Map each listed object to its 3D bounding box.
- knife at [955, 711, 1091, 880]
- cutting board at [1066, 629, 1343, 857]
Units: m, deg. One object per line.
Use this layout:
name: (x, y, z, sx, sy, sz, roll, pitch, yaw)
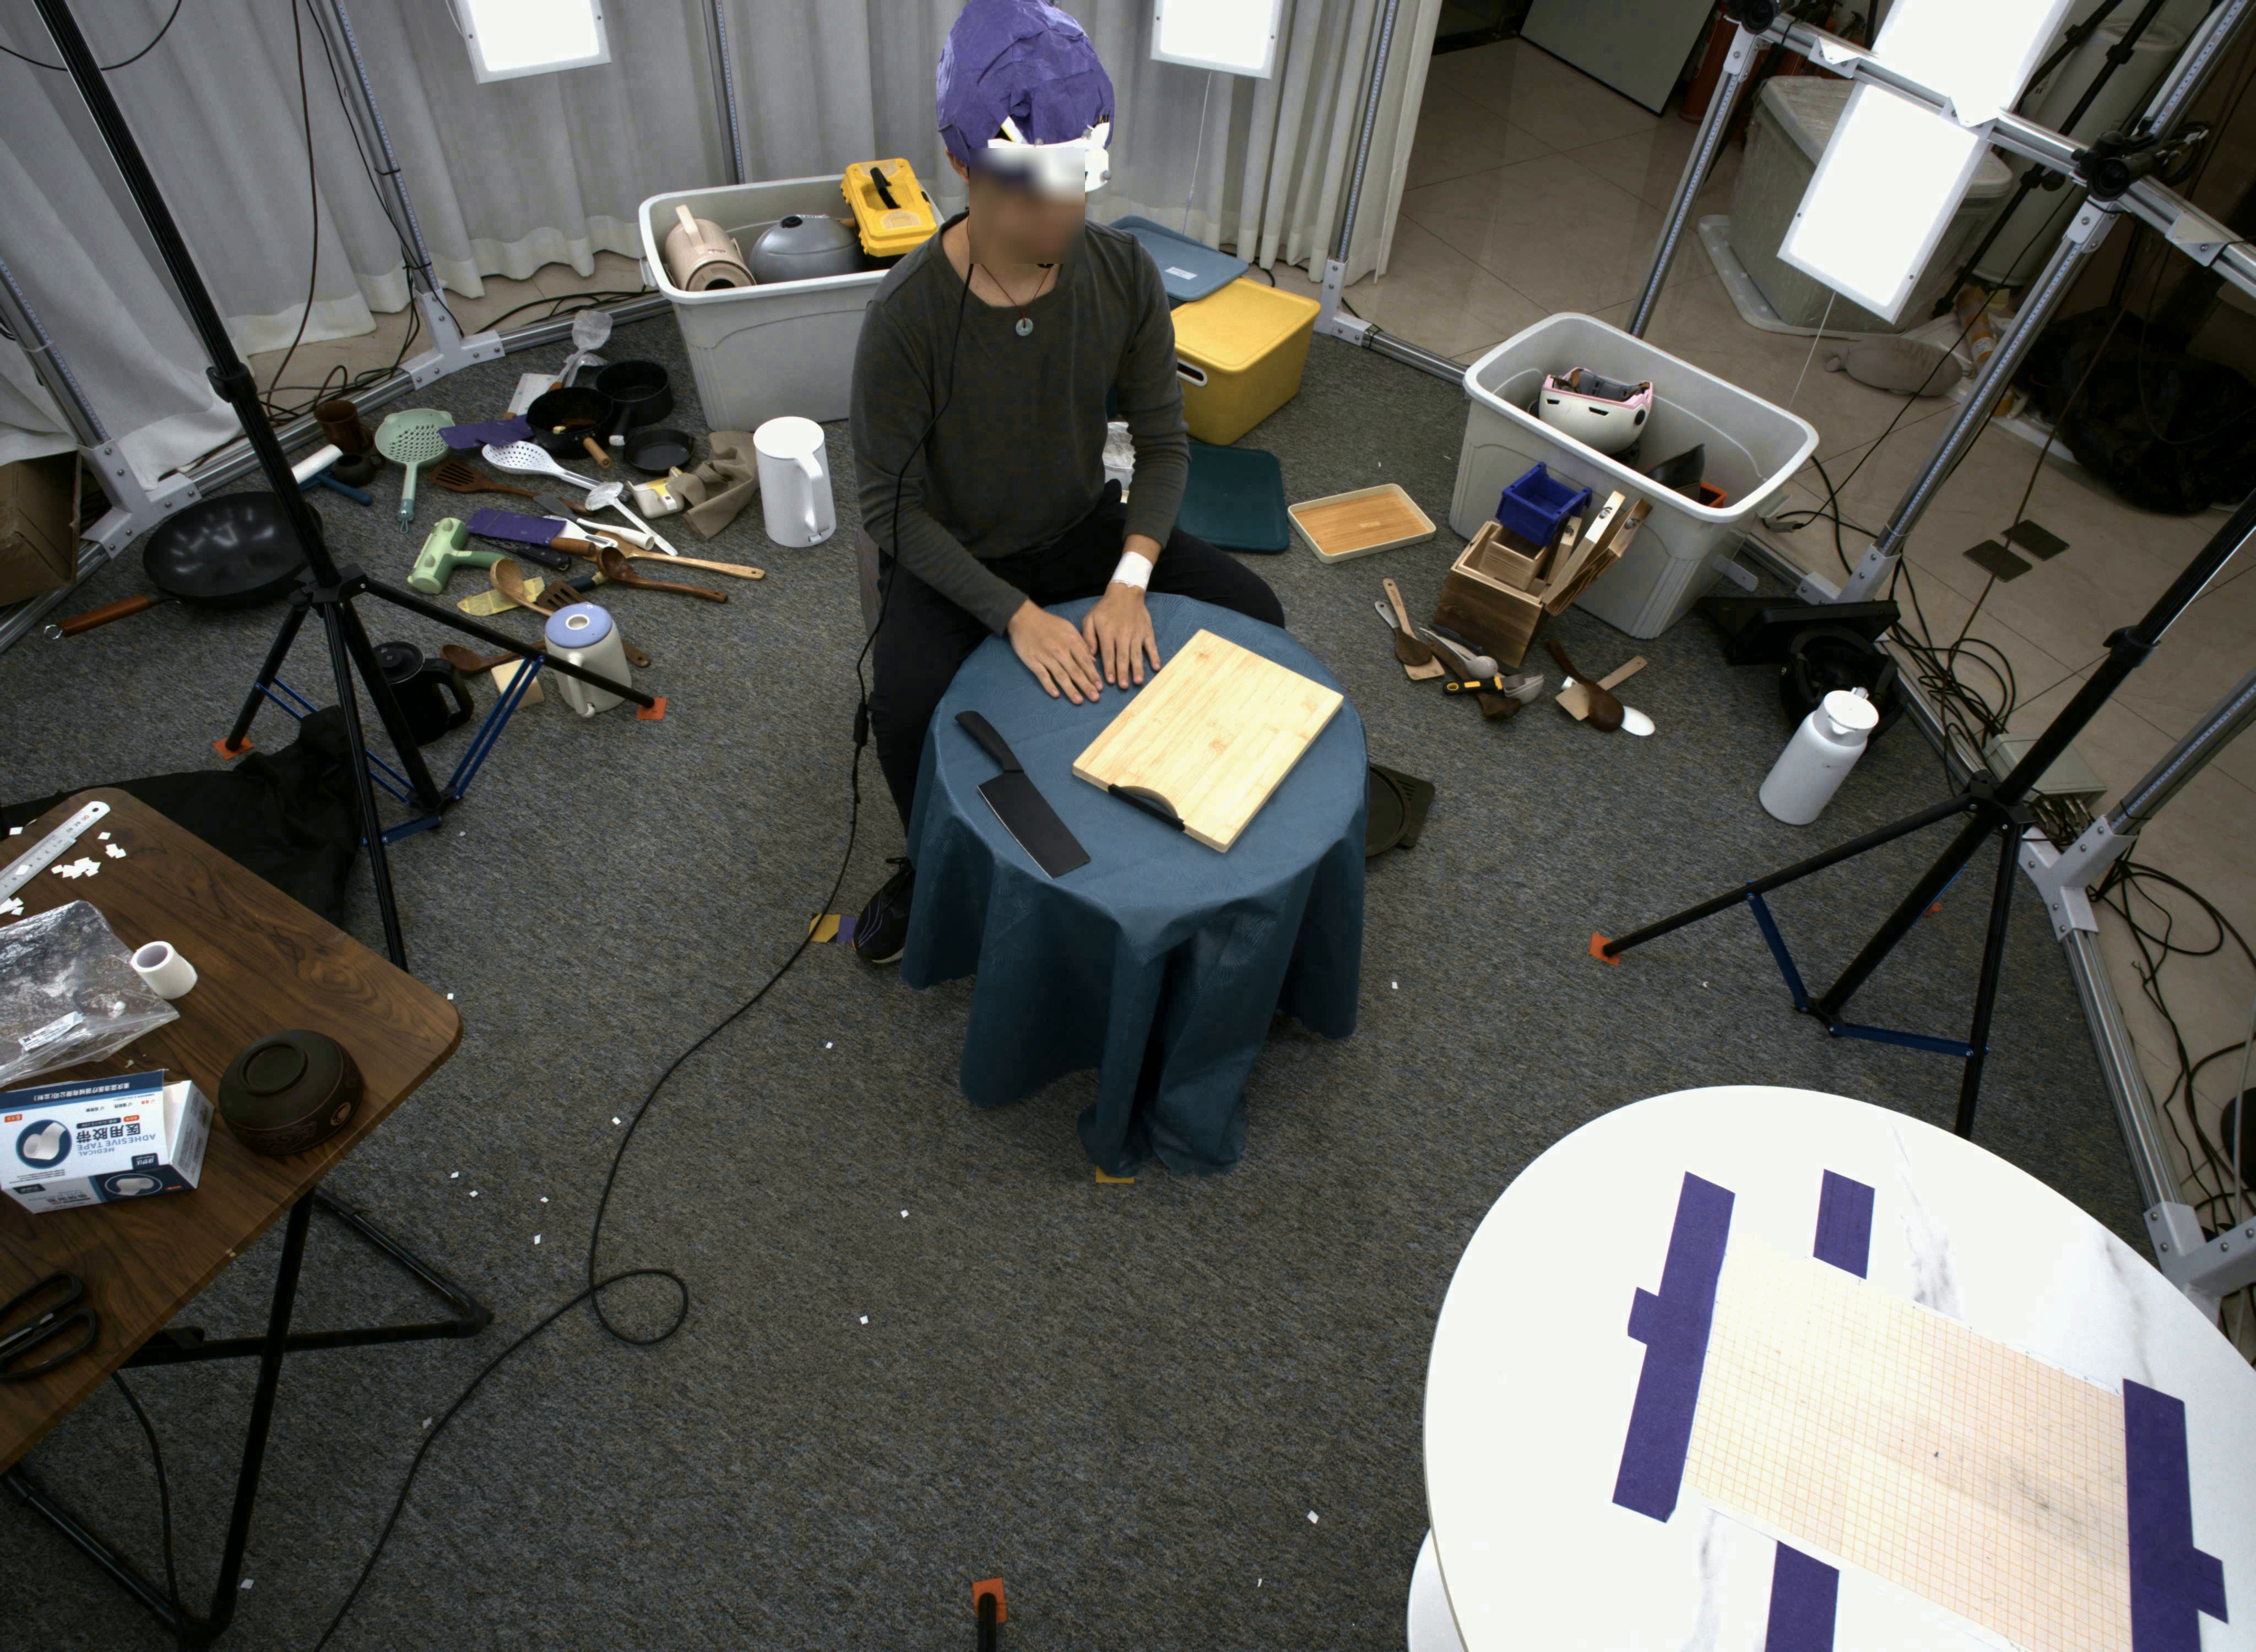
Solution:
knife: (-0.152, -0.047, 1.689, 0.081, 0.020, 0.309, -21, 56, -20)
cutting board: (0.113, -0.125, 1.773, 0.253, 0.023, 0.354, 27, 53, 19)
